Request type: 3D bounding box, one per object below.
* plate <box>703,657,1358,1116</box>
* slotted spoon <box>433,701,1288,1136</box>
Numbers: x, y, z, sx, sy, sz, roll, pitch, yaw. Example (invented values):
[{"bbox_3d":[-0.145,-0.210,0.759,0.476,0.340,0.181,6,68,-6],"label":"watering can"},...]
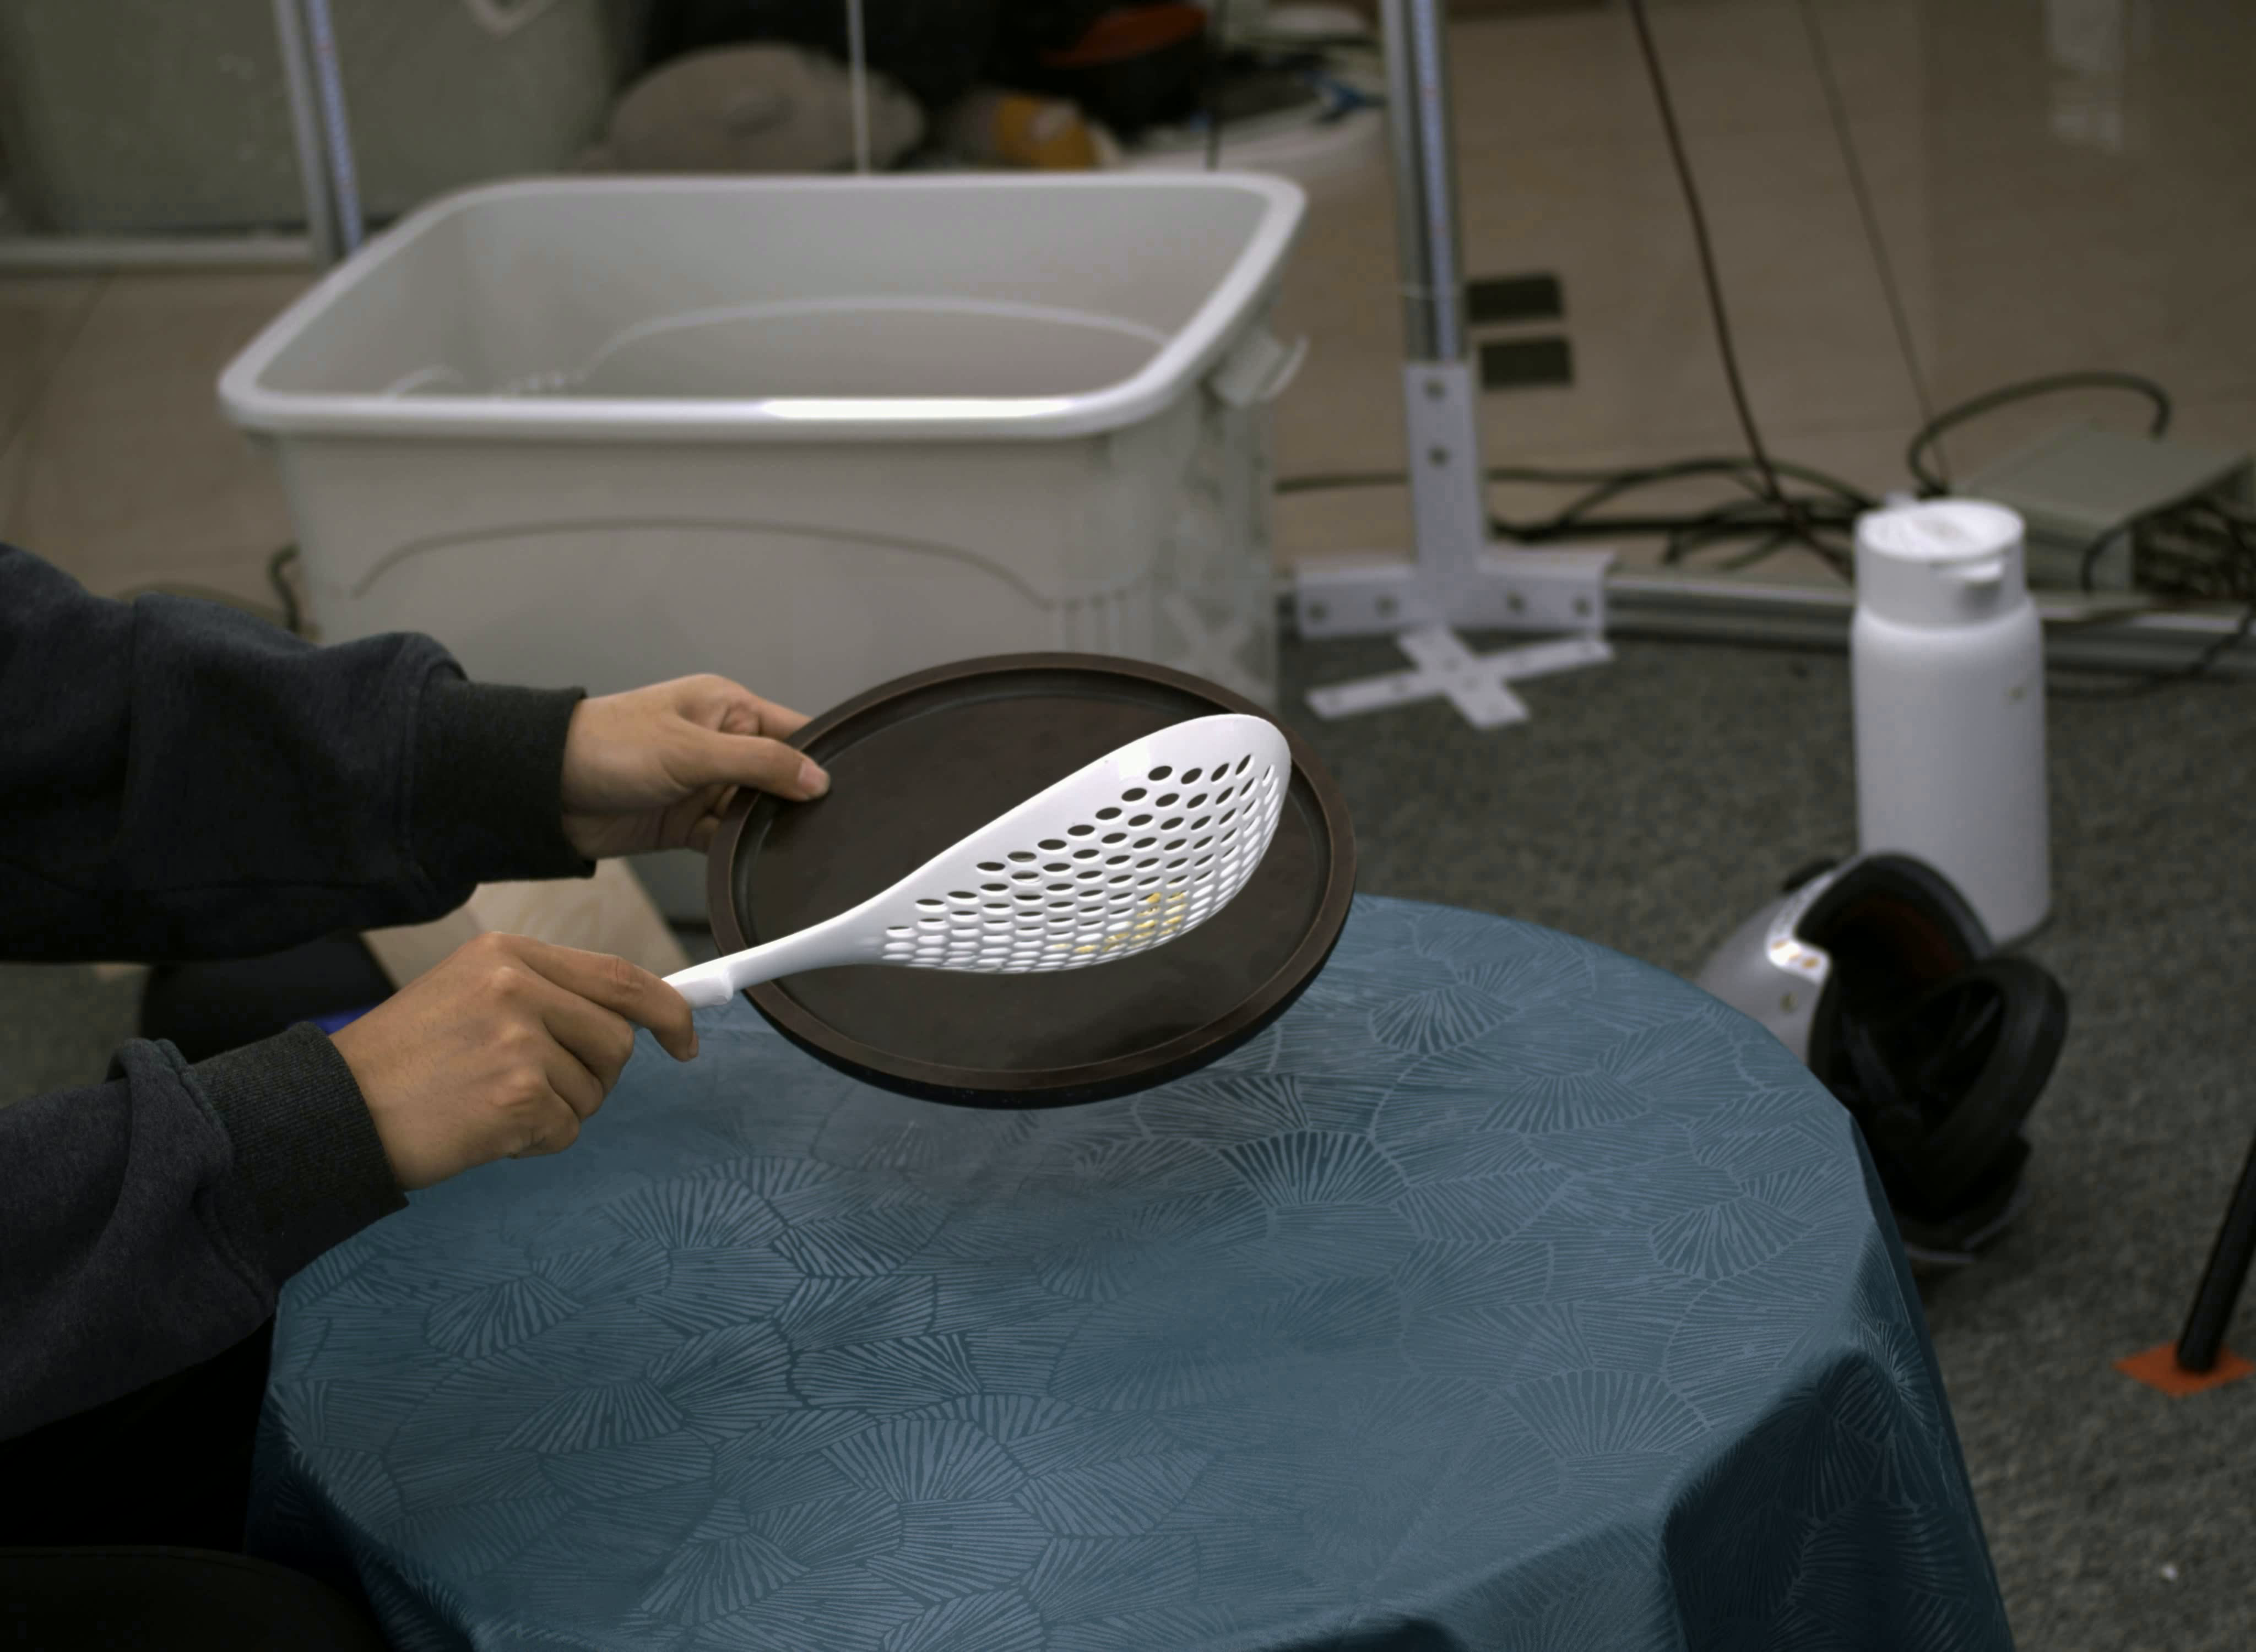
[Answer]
[{"bbox_3d":[-0.037,0.022,2.186,0.254,0.029,0.250,-2,44,2],"label":"plate"},{"bbox_3d":[-0.092,0.044,2.020,0.346,0.139,0.049,-16,63,-19],"label":"slotted spoon"}]
